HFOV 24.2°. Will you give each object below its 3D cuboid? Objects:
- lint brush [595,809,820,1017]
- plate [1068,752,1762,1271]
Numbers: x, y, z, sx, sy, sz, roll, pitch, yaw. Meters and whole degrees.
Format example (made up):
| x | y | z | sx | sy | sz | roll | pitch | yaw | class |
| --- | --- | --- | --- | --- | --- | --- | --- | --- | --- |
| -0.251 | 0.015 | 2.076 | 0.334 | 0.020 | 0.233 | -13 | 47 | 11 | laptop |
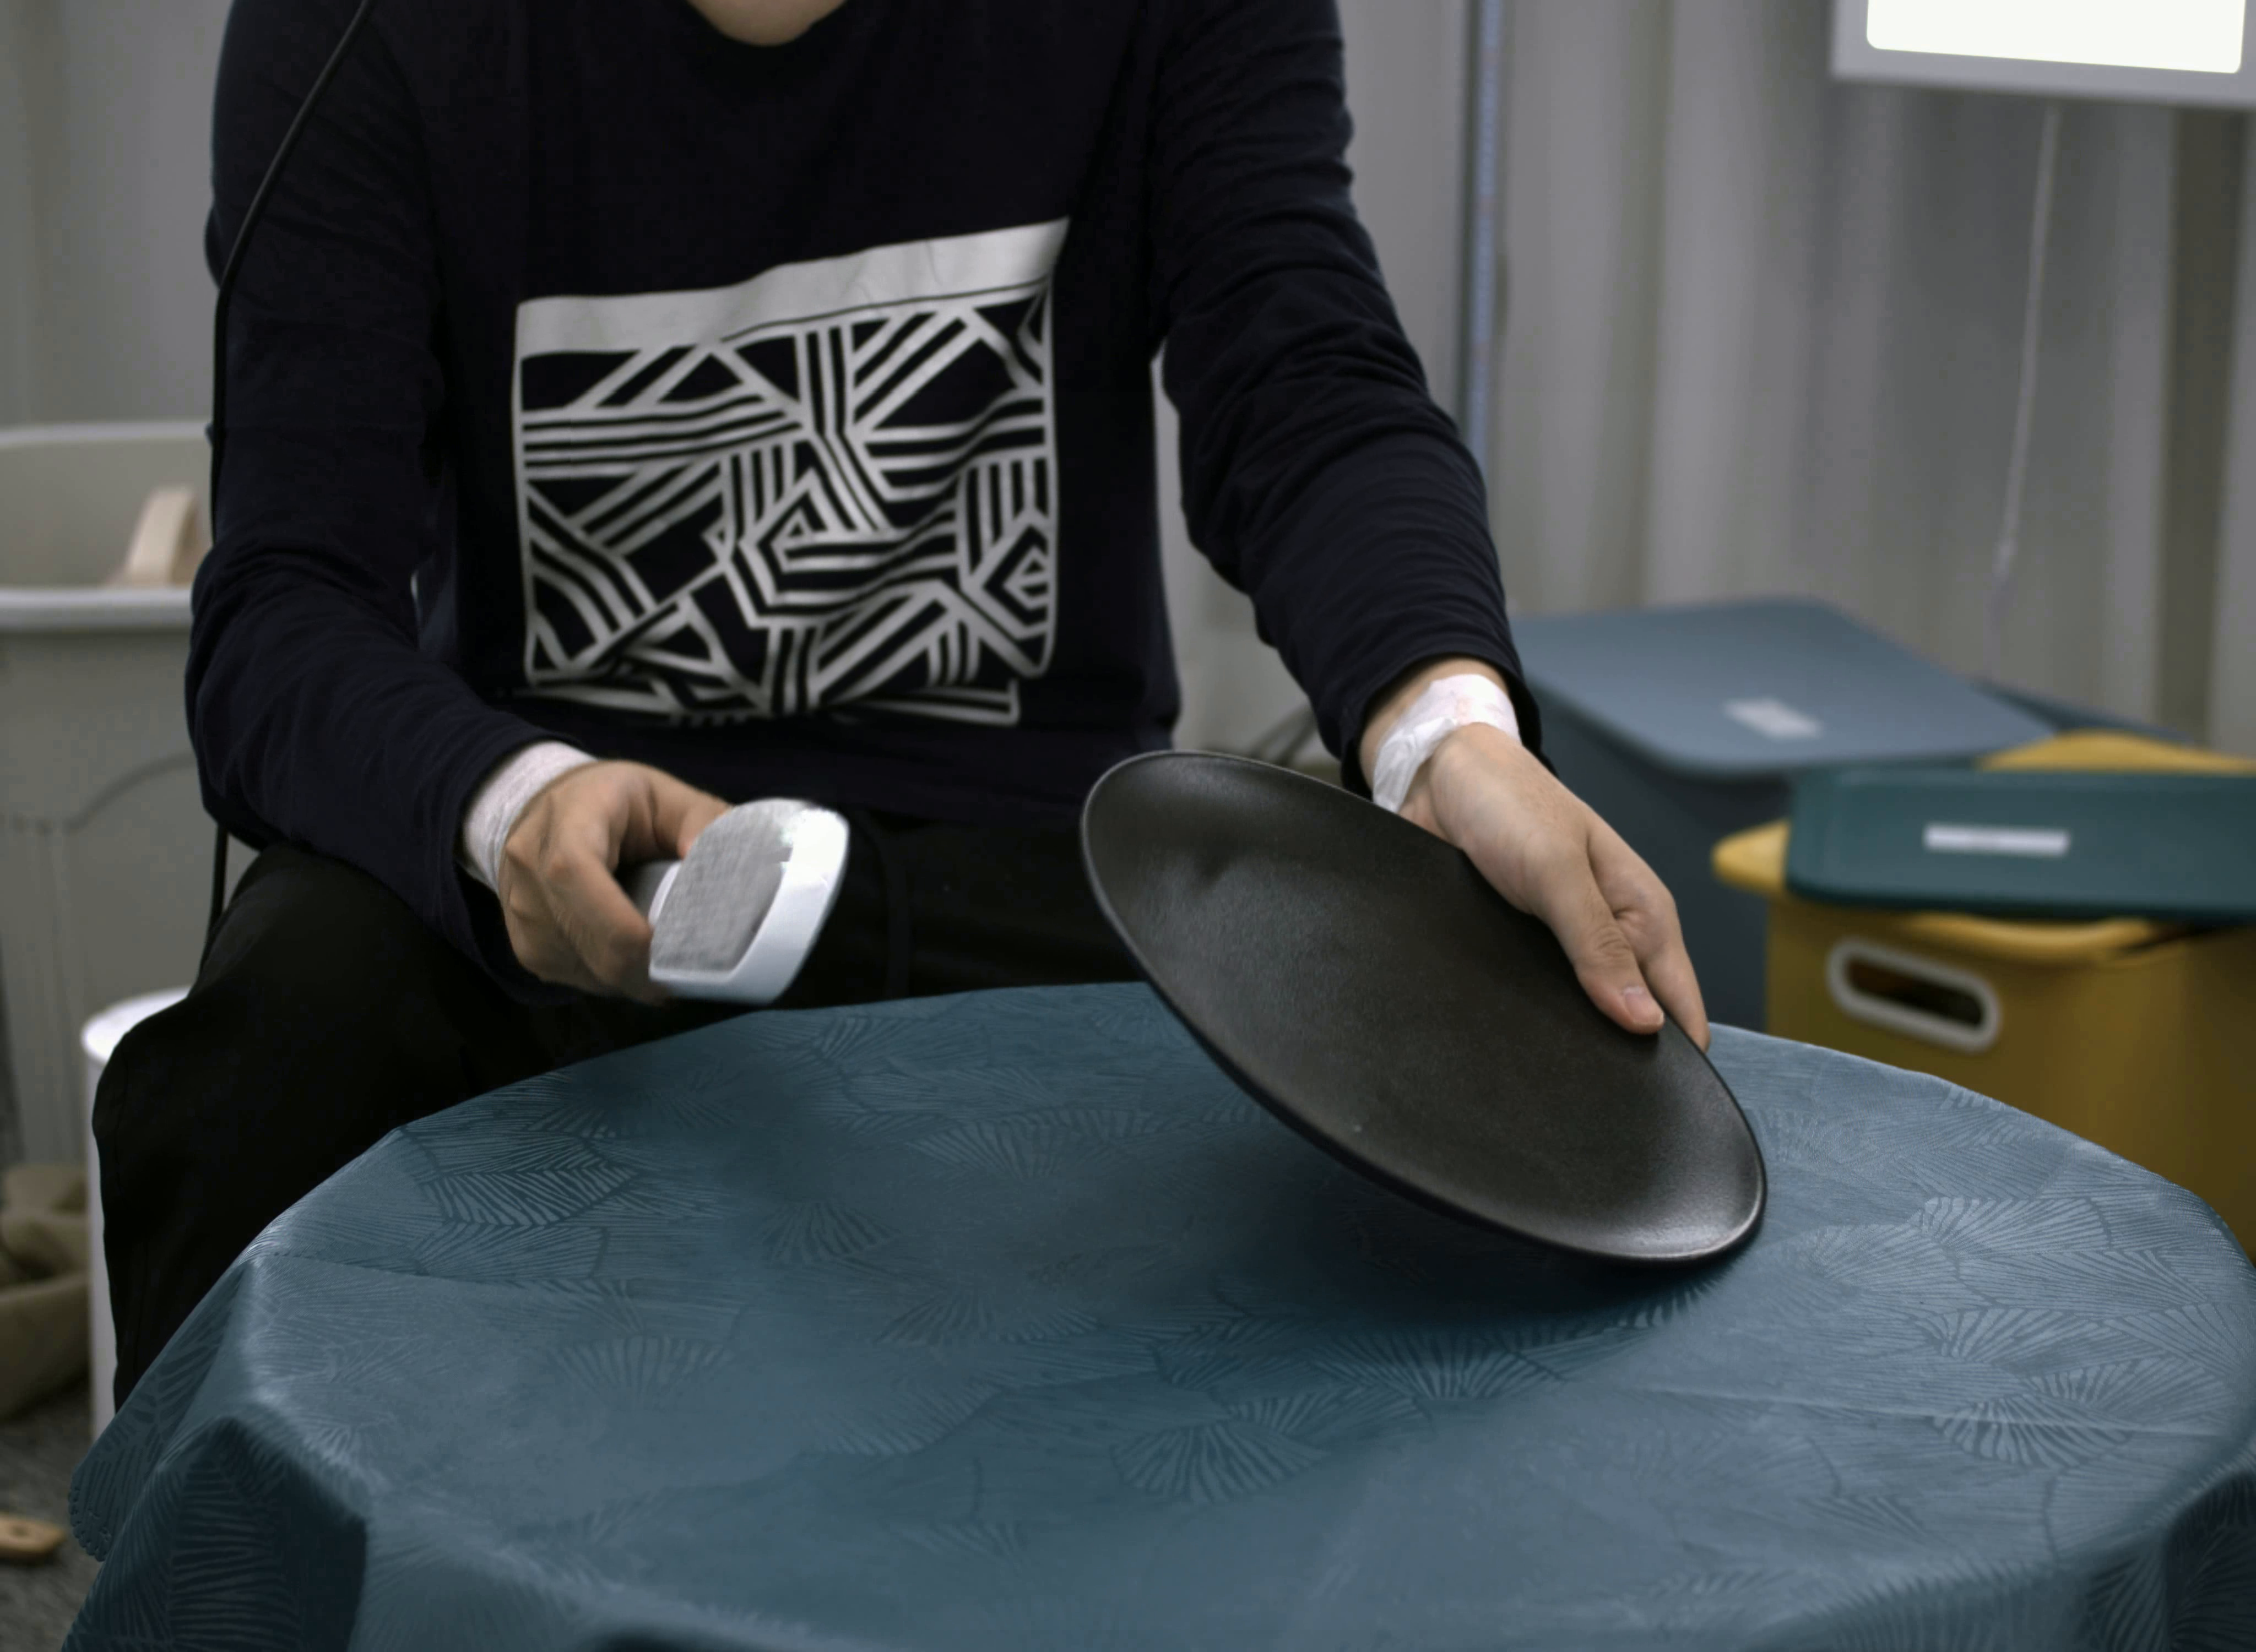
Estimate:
| x | y | z | sx | sy | sz | roll | pitch | yaw | class |
| --- | --- | --- | --- | --- | --- | --- | --- | --- | --- |
| -0.131 | 0.025 | 1.588 | 0.021 | 0.060 | 0.307 | 19 | -5 | -13 | lint brush |
| 0.084 | 0.060 | 1.605 | 0.245 | 0.023 | 0.242 | 26 | 25 | -13 | plate |
